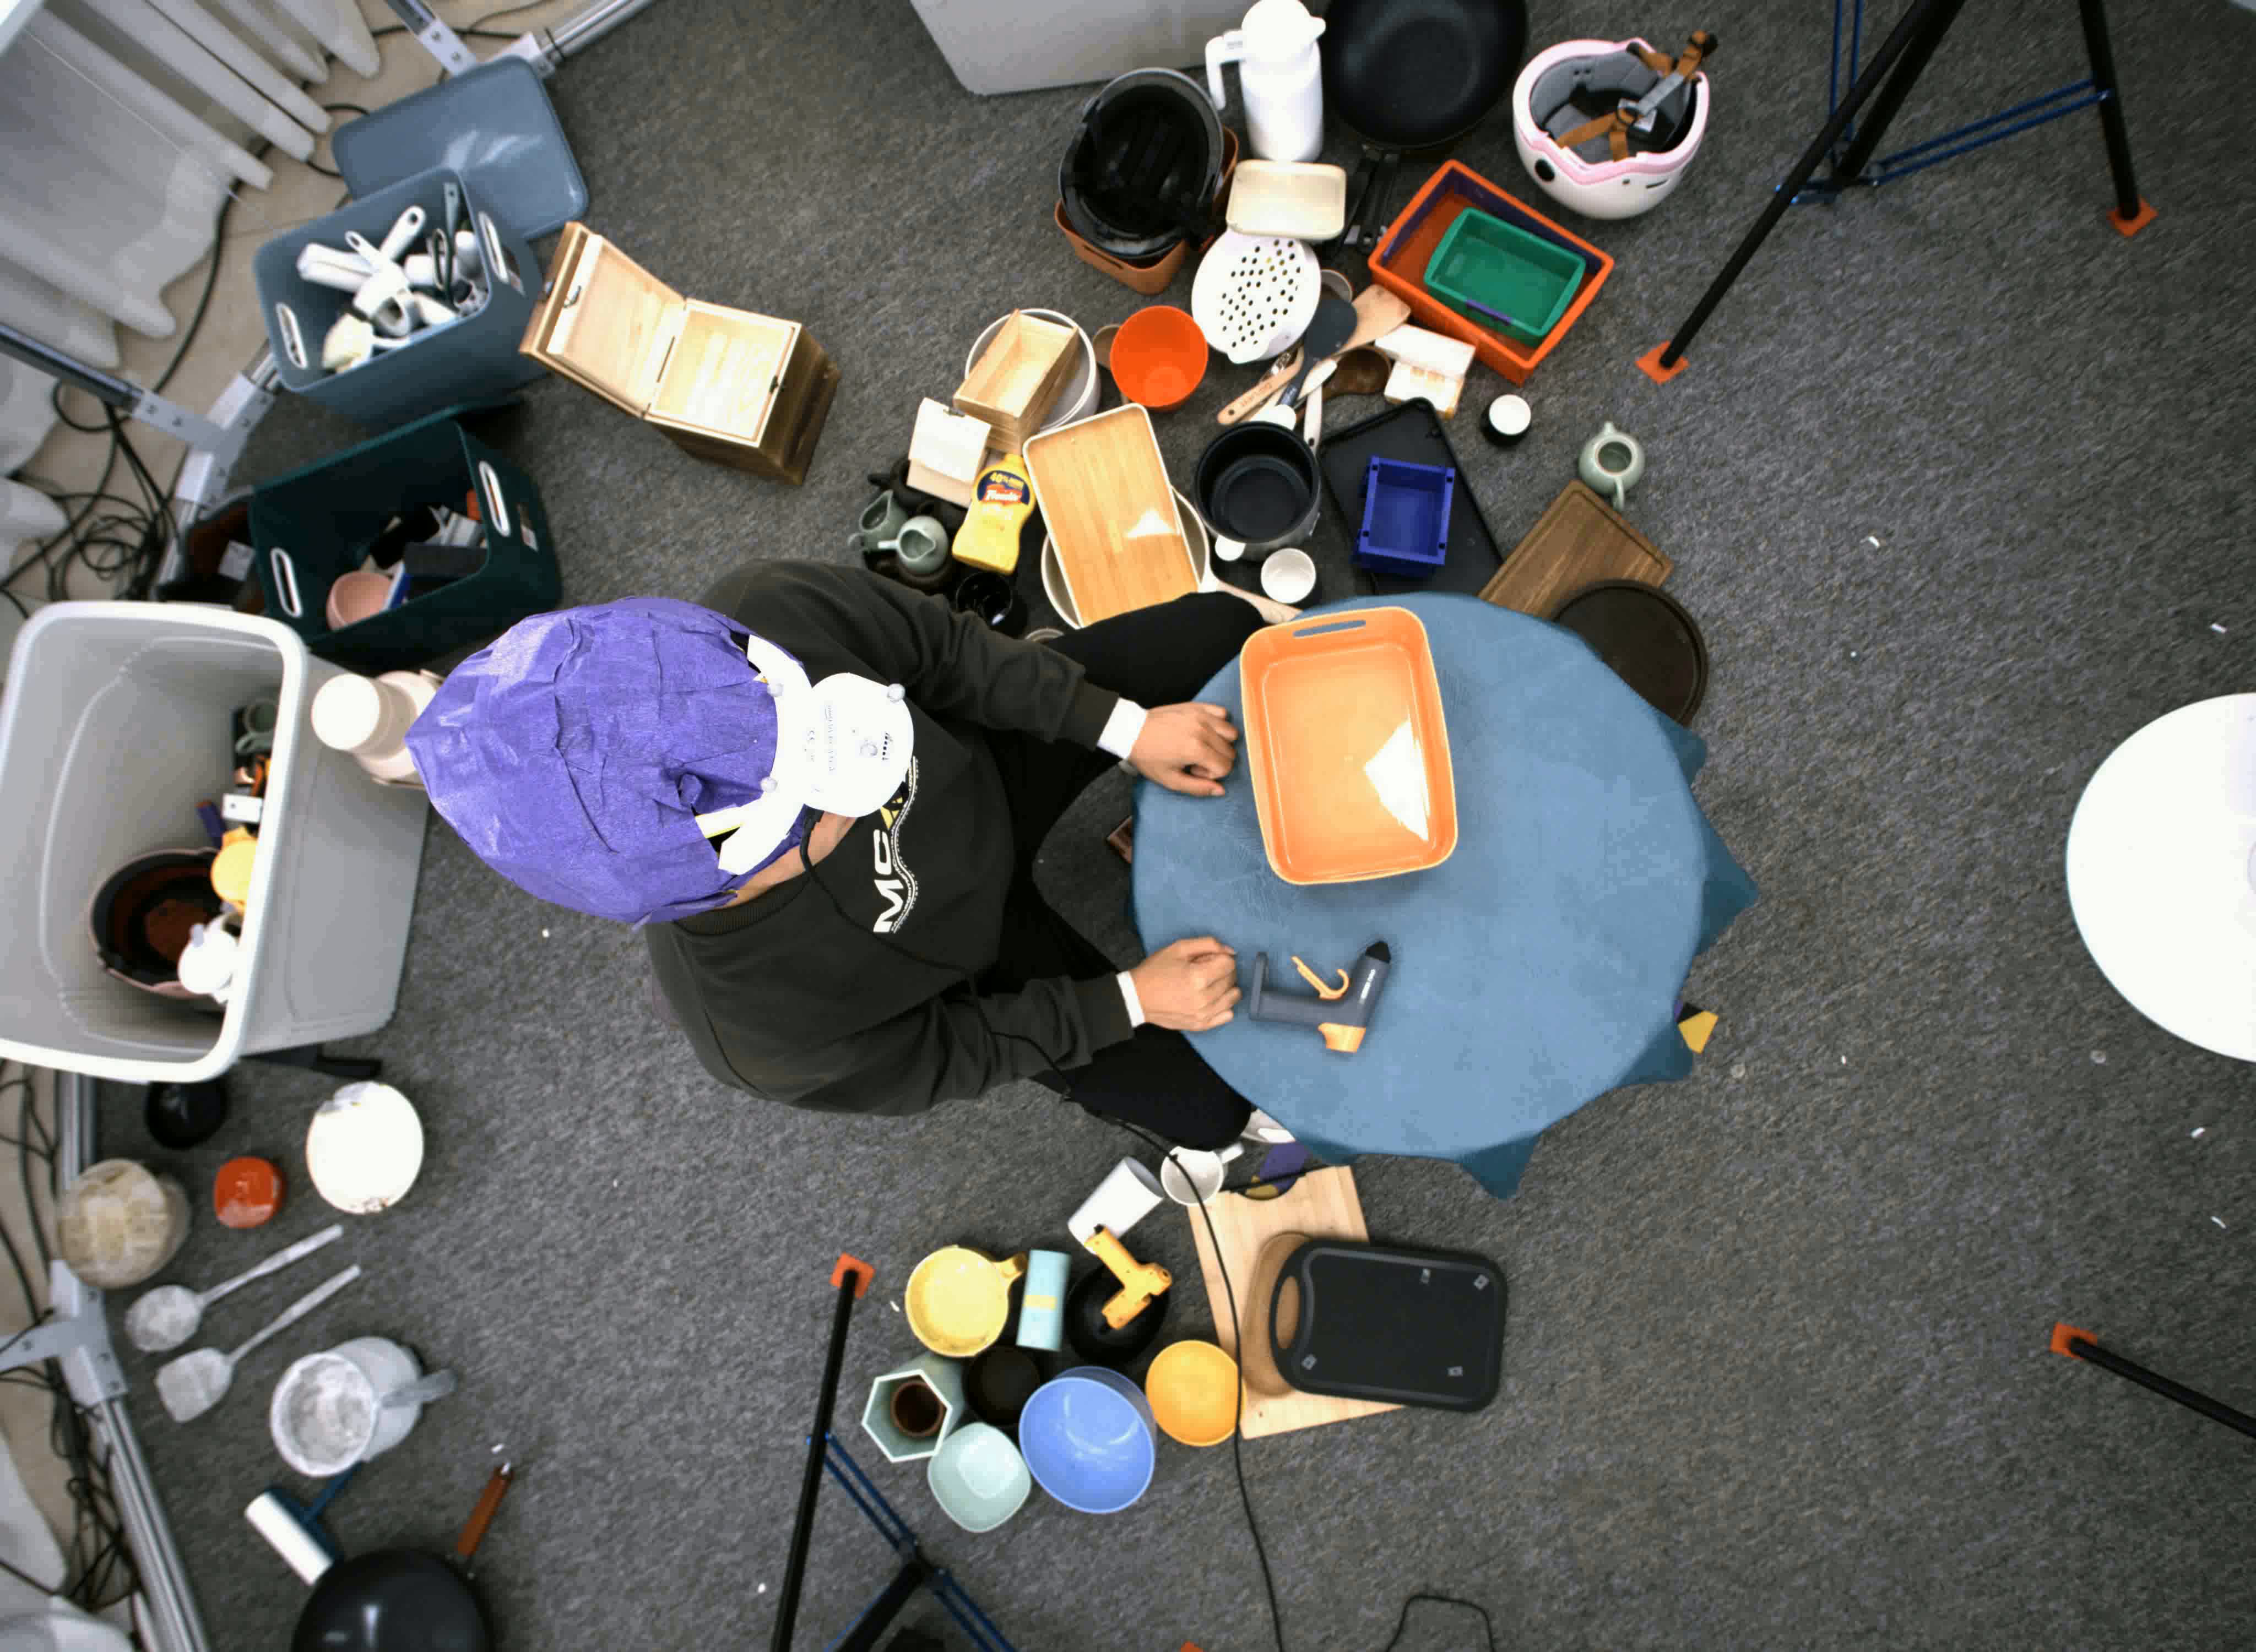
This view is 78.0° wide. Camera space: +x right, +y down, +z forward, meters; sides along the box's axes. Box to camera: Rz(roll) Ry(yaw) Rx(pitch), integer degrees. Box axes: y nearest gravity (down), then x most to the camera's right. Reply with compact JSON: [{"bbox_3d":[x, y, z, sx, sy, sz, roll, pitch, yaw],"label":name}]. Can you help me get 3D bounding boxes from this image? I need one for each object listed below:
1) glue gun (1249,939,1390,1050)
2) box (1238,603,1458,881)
[{"bbox_3d":[0.201,0.170,1.450,0.140,0.041,0.117,5,85,9],"label":"glue gun"},{"bbox_3d":[0.225,-0.080,1.424,0.200,0.102,0.272,-9,85,10],"label":"box"}]
